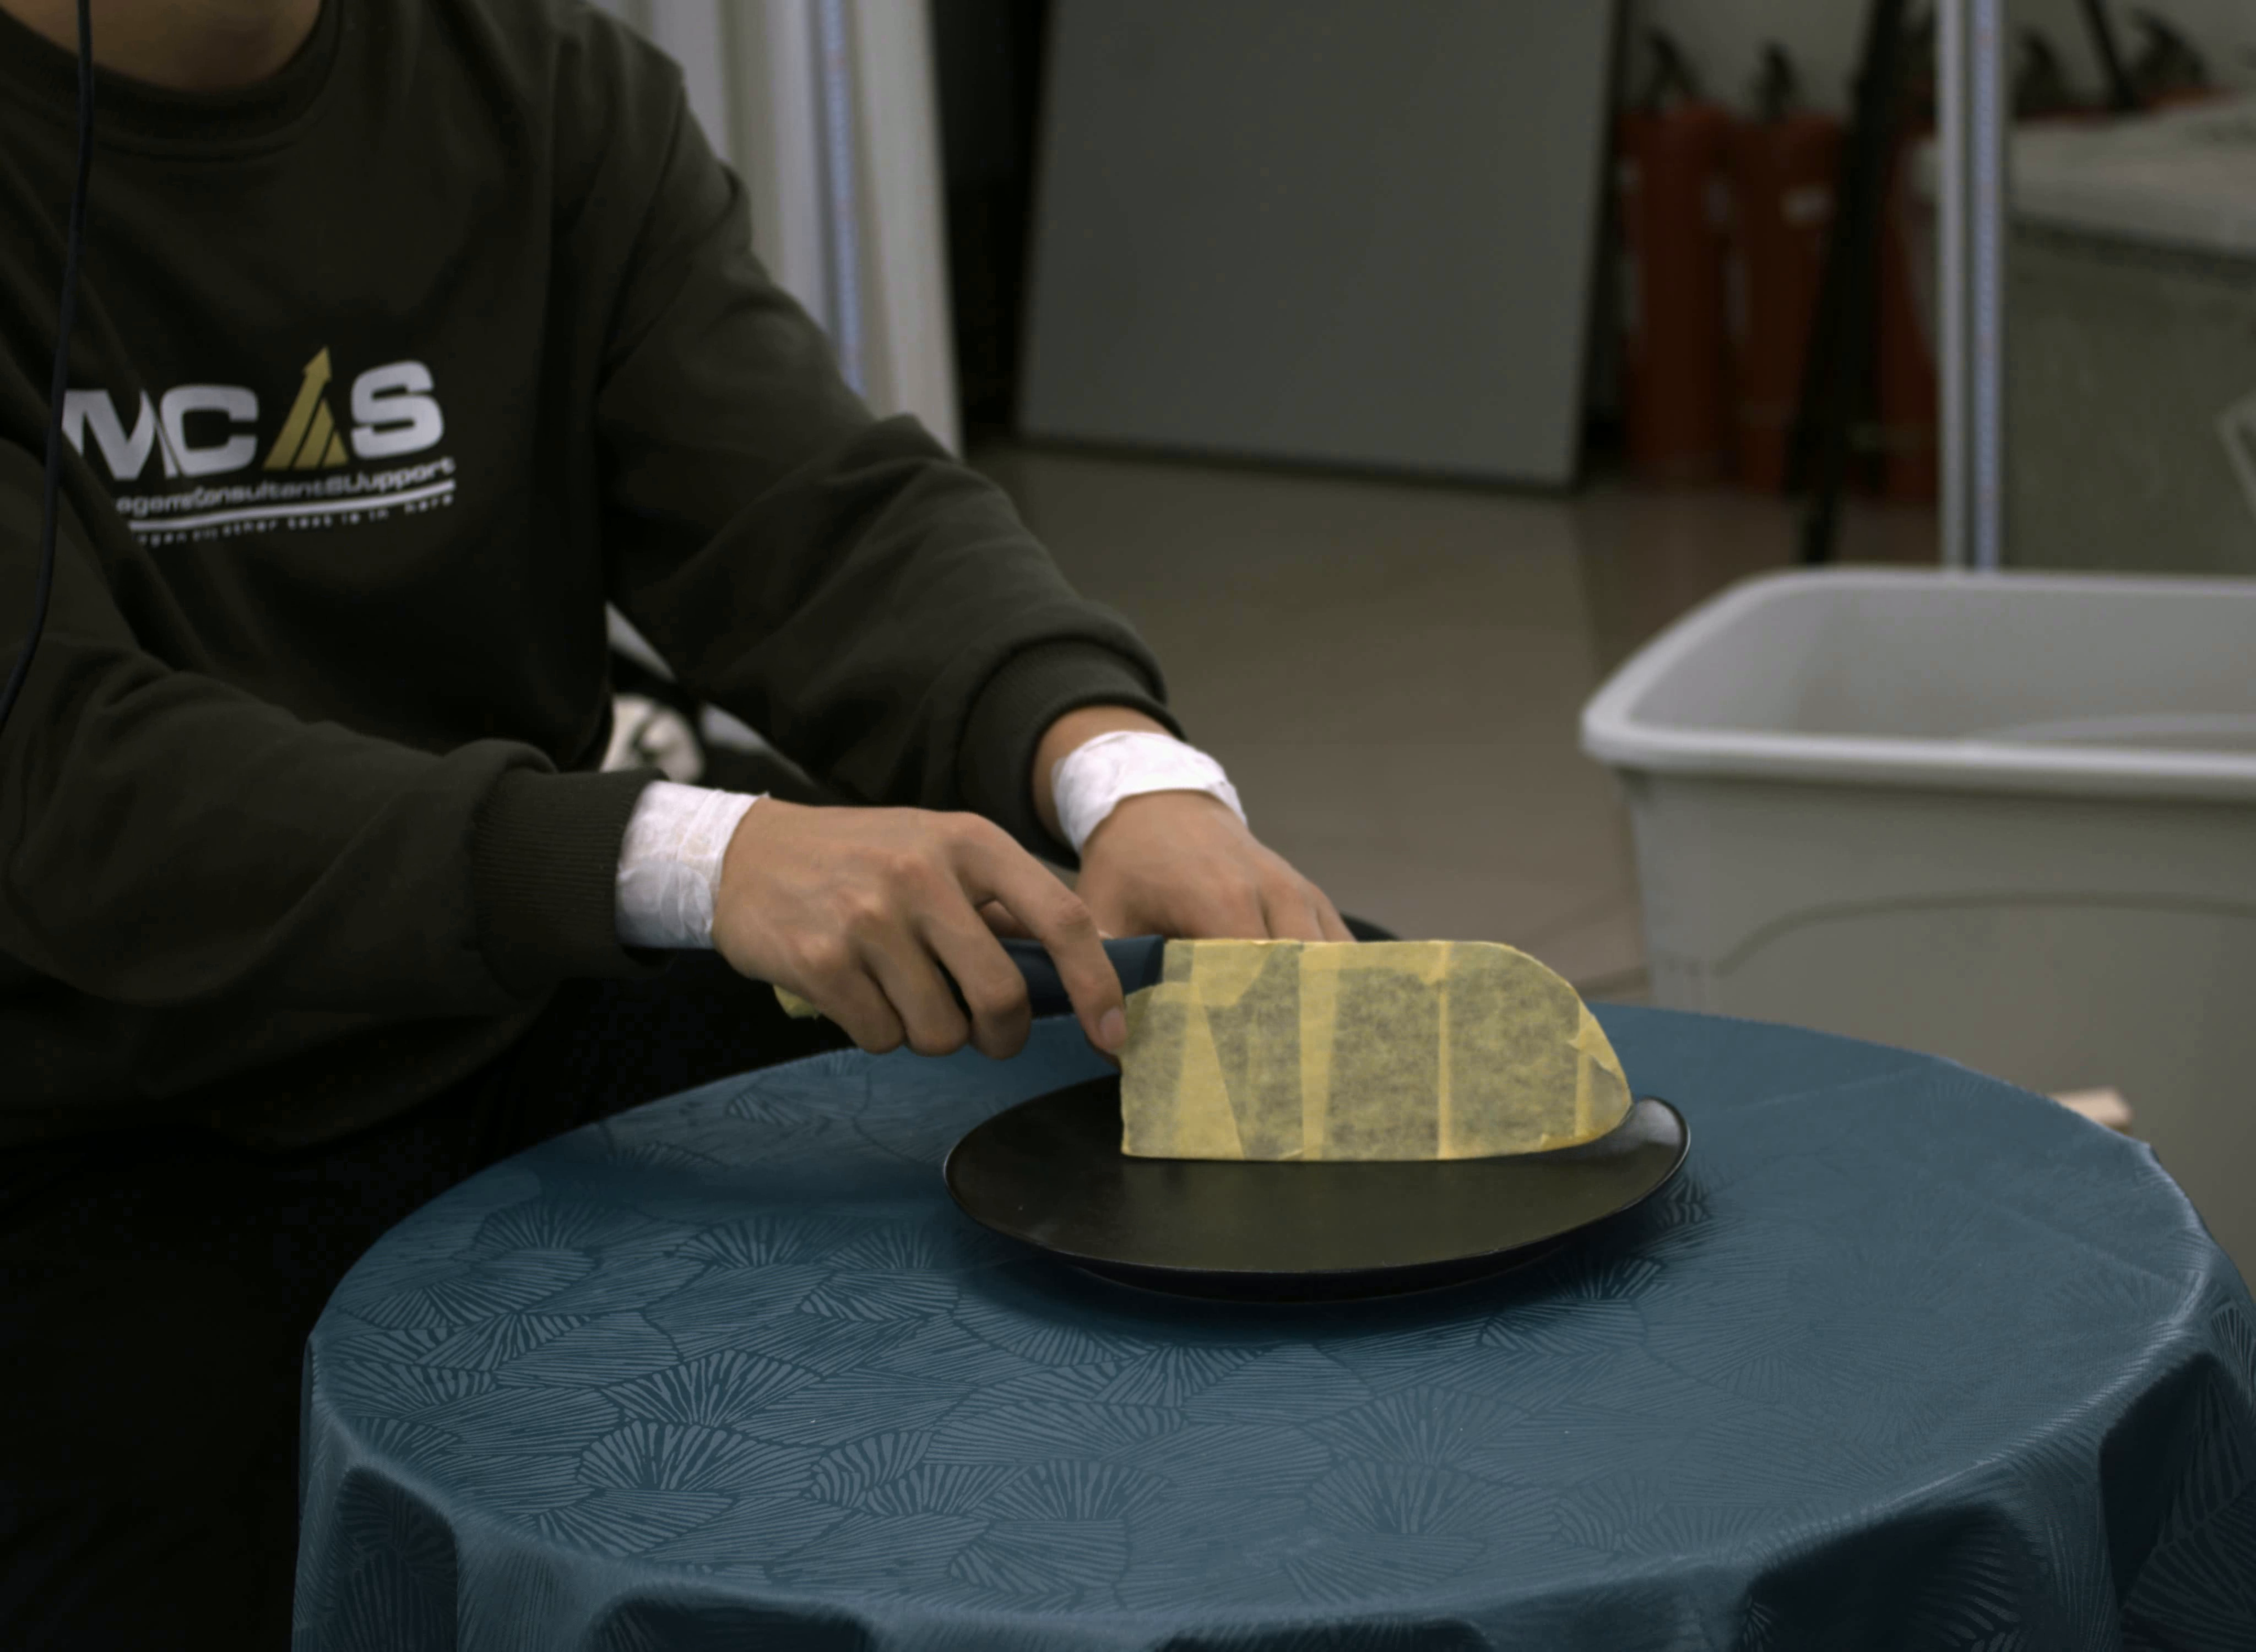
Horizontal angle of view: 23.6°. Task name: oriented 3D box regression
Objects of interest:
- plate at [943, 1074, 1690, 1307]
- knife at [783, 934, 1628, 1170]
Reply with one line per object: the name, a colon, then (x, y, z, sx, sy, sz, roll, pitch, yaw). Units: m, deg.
plate: (0.061, 0.115, 1.734, 0.241, 0.024, 0.245, -4, 13, 0)
knife: (0.024, 0.073, 1.775, 0.288, 0.082, 0.027, 2, -6, 15)
